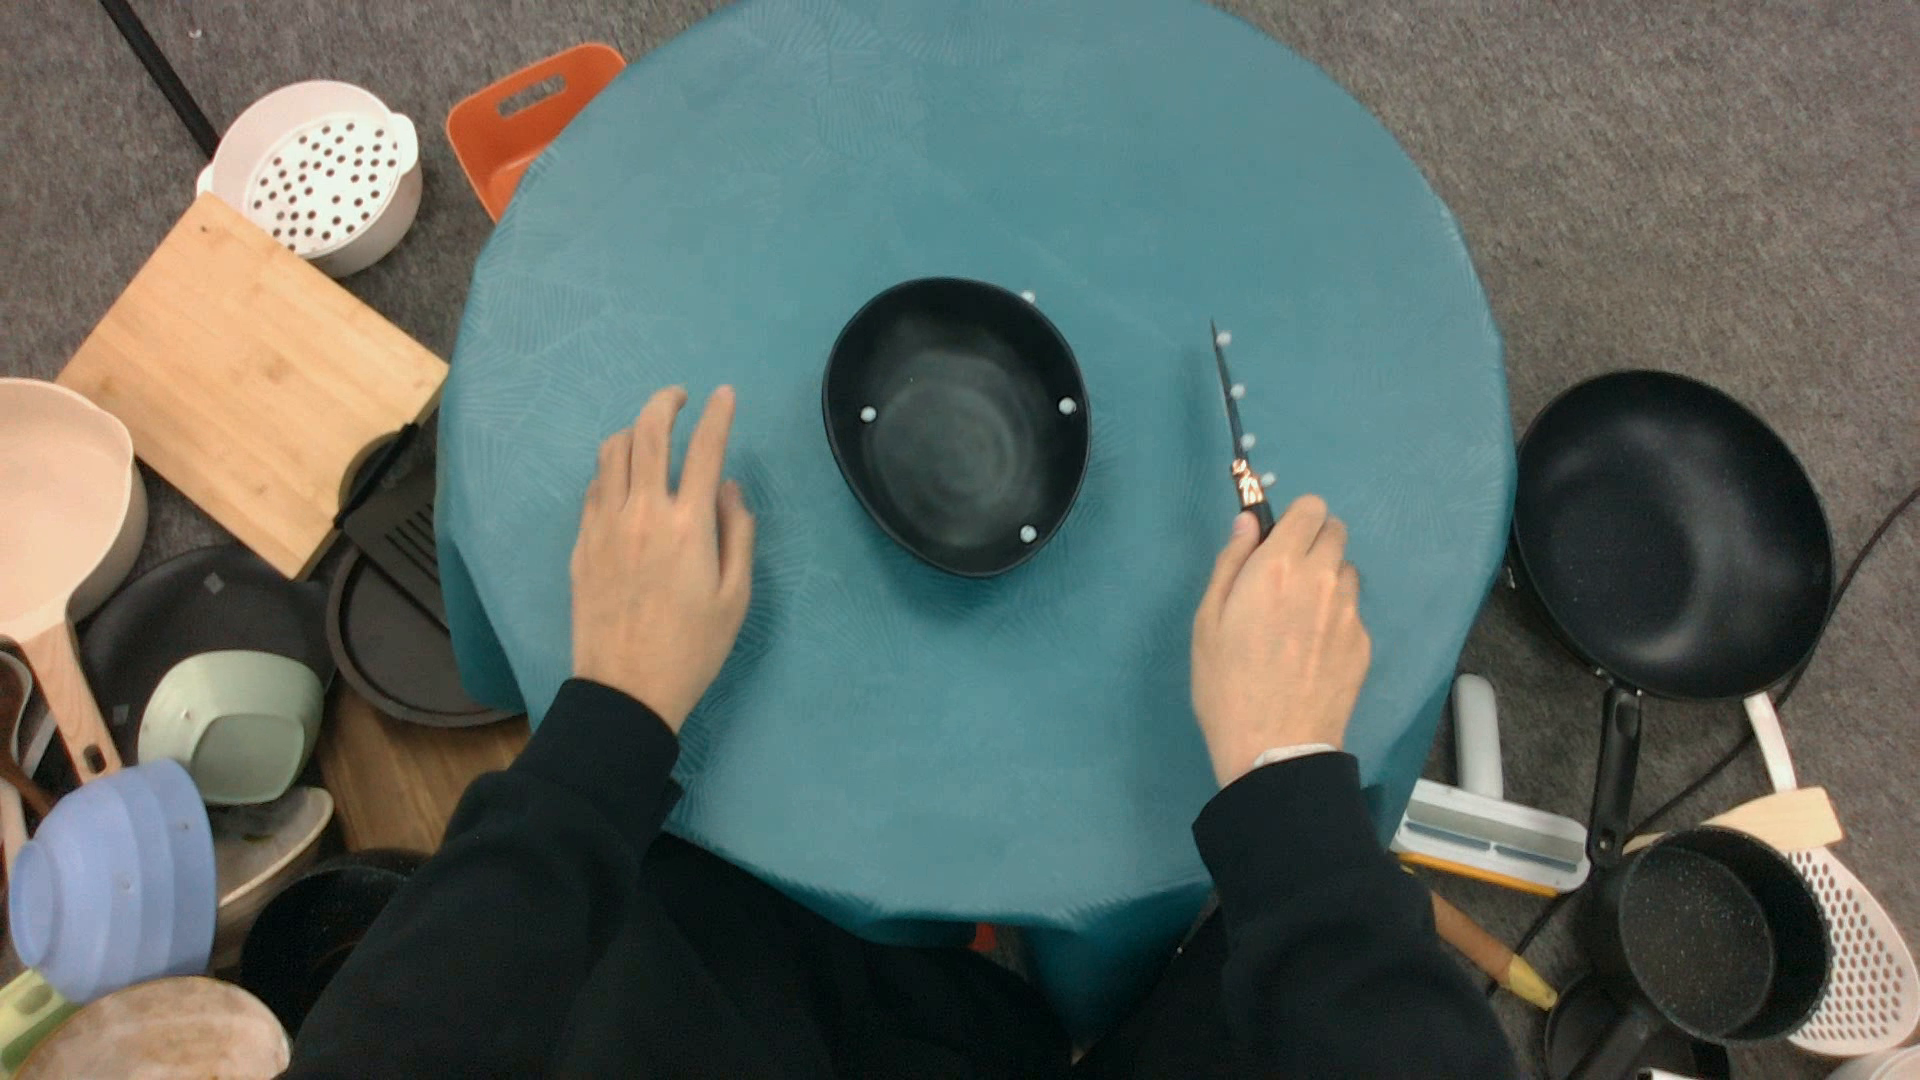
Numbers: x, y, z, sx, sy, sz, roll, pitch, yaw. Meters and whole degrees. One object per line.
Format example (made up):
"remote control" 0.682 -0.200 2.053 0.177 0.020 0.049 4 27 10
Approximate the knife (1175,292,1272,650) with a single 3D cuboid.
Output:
"knife" 0.135 -0.044 0.721 0.017 0.026 0.226 -20 53 21

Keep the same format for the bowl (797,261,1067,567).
"bowl" -0.014 -0.062 0.732 0.137 0.066 0.170 -15 72 -8
